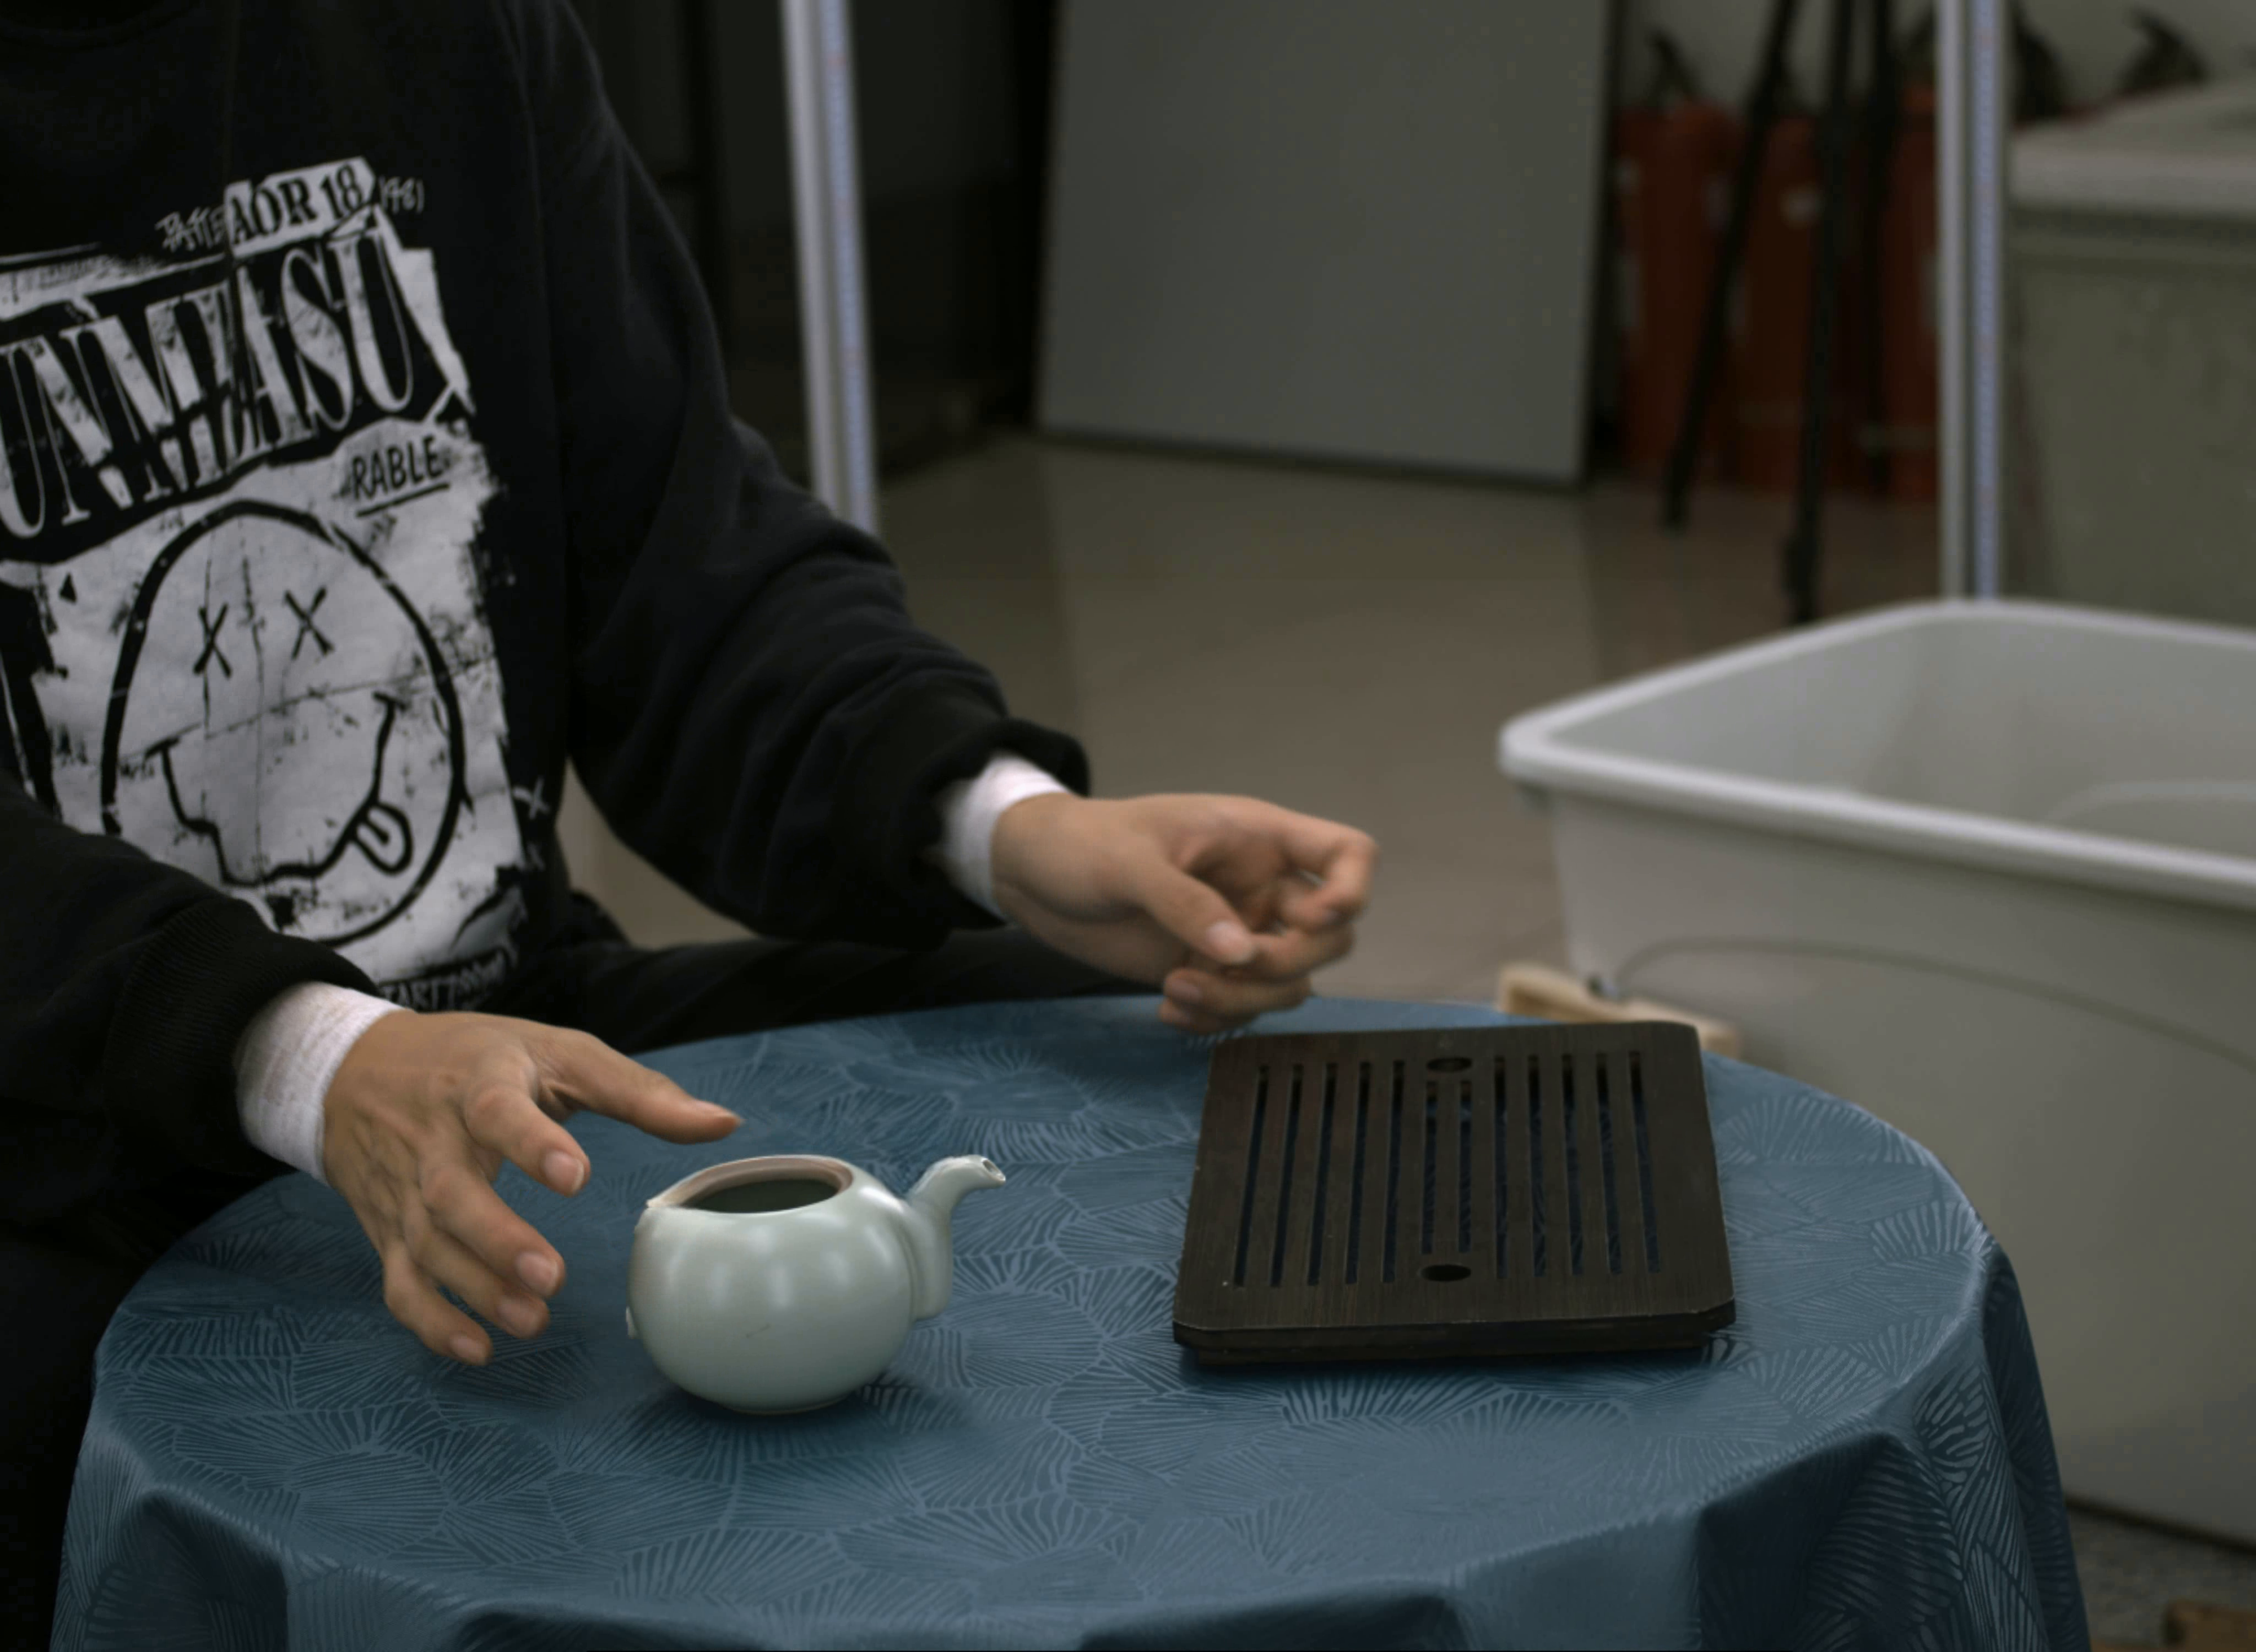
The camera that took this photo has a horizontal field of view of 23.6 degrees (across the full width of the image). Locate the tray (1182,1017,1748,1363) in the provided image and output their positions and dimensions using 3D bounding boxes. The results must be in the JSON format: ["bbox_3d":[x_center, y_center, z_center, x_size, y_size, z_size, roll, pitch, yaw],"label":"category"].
[{"bbox_3d":[0.109,0.115,1.729,0.168,0.019,0.305,-3,14,5],"label":"tray"}]

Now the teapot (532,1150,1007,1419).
[{"bbox_3d":[-0.105,0.134,1.602,0.142,0.075,0.088,-1,14,7],"label":"teapot"}]
